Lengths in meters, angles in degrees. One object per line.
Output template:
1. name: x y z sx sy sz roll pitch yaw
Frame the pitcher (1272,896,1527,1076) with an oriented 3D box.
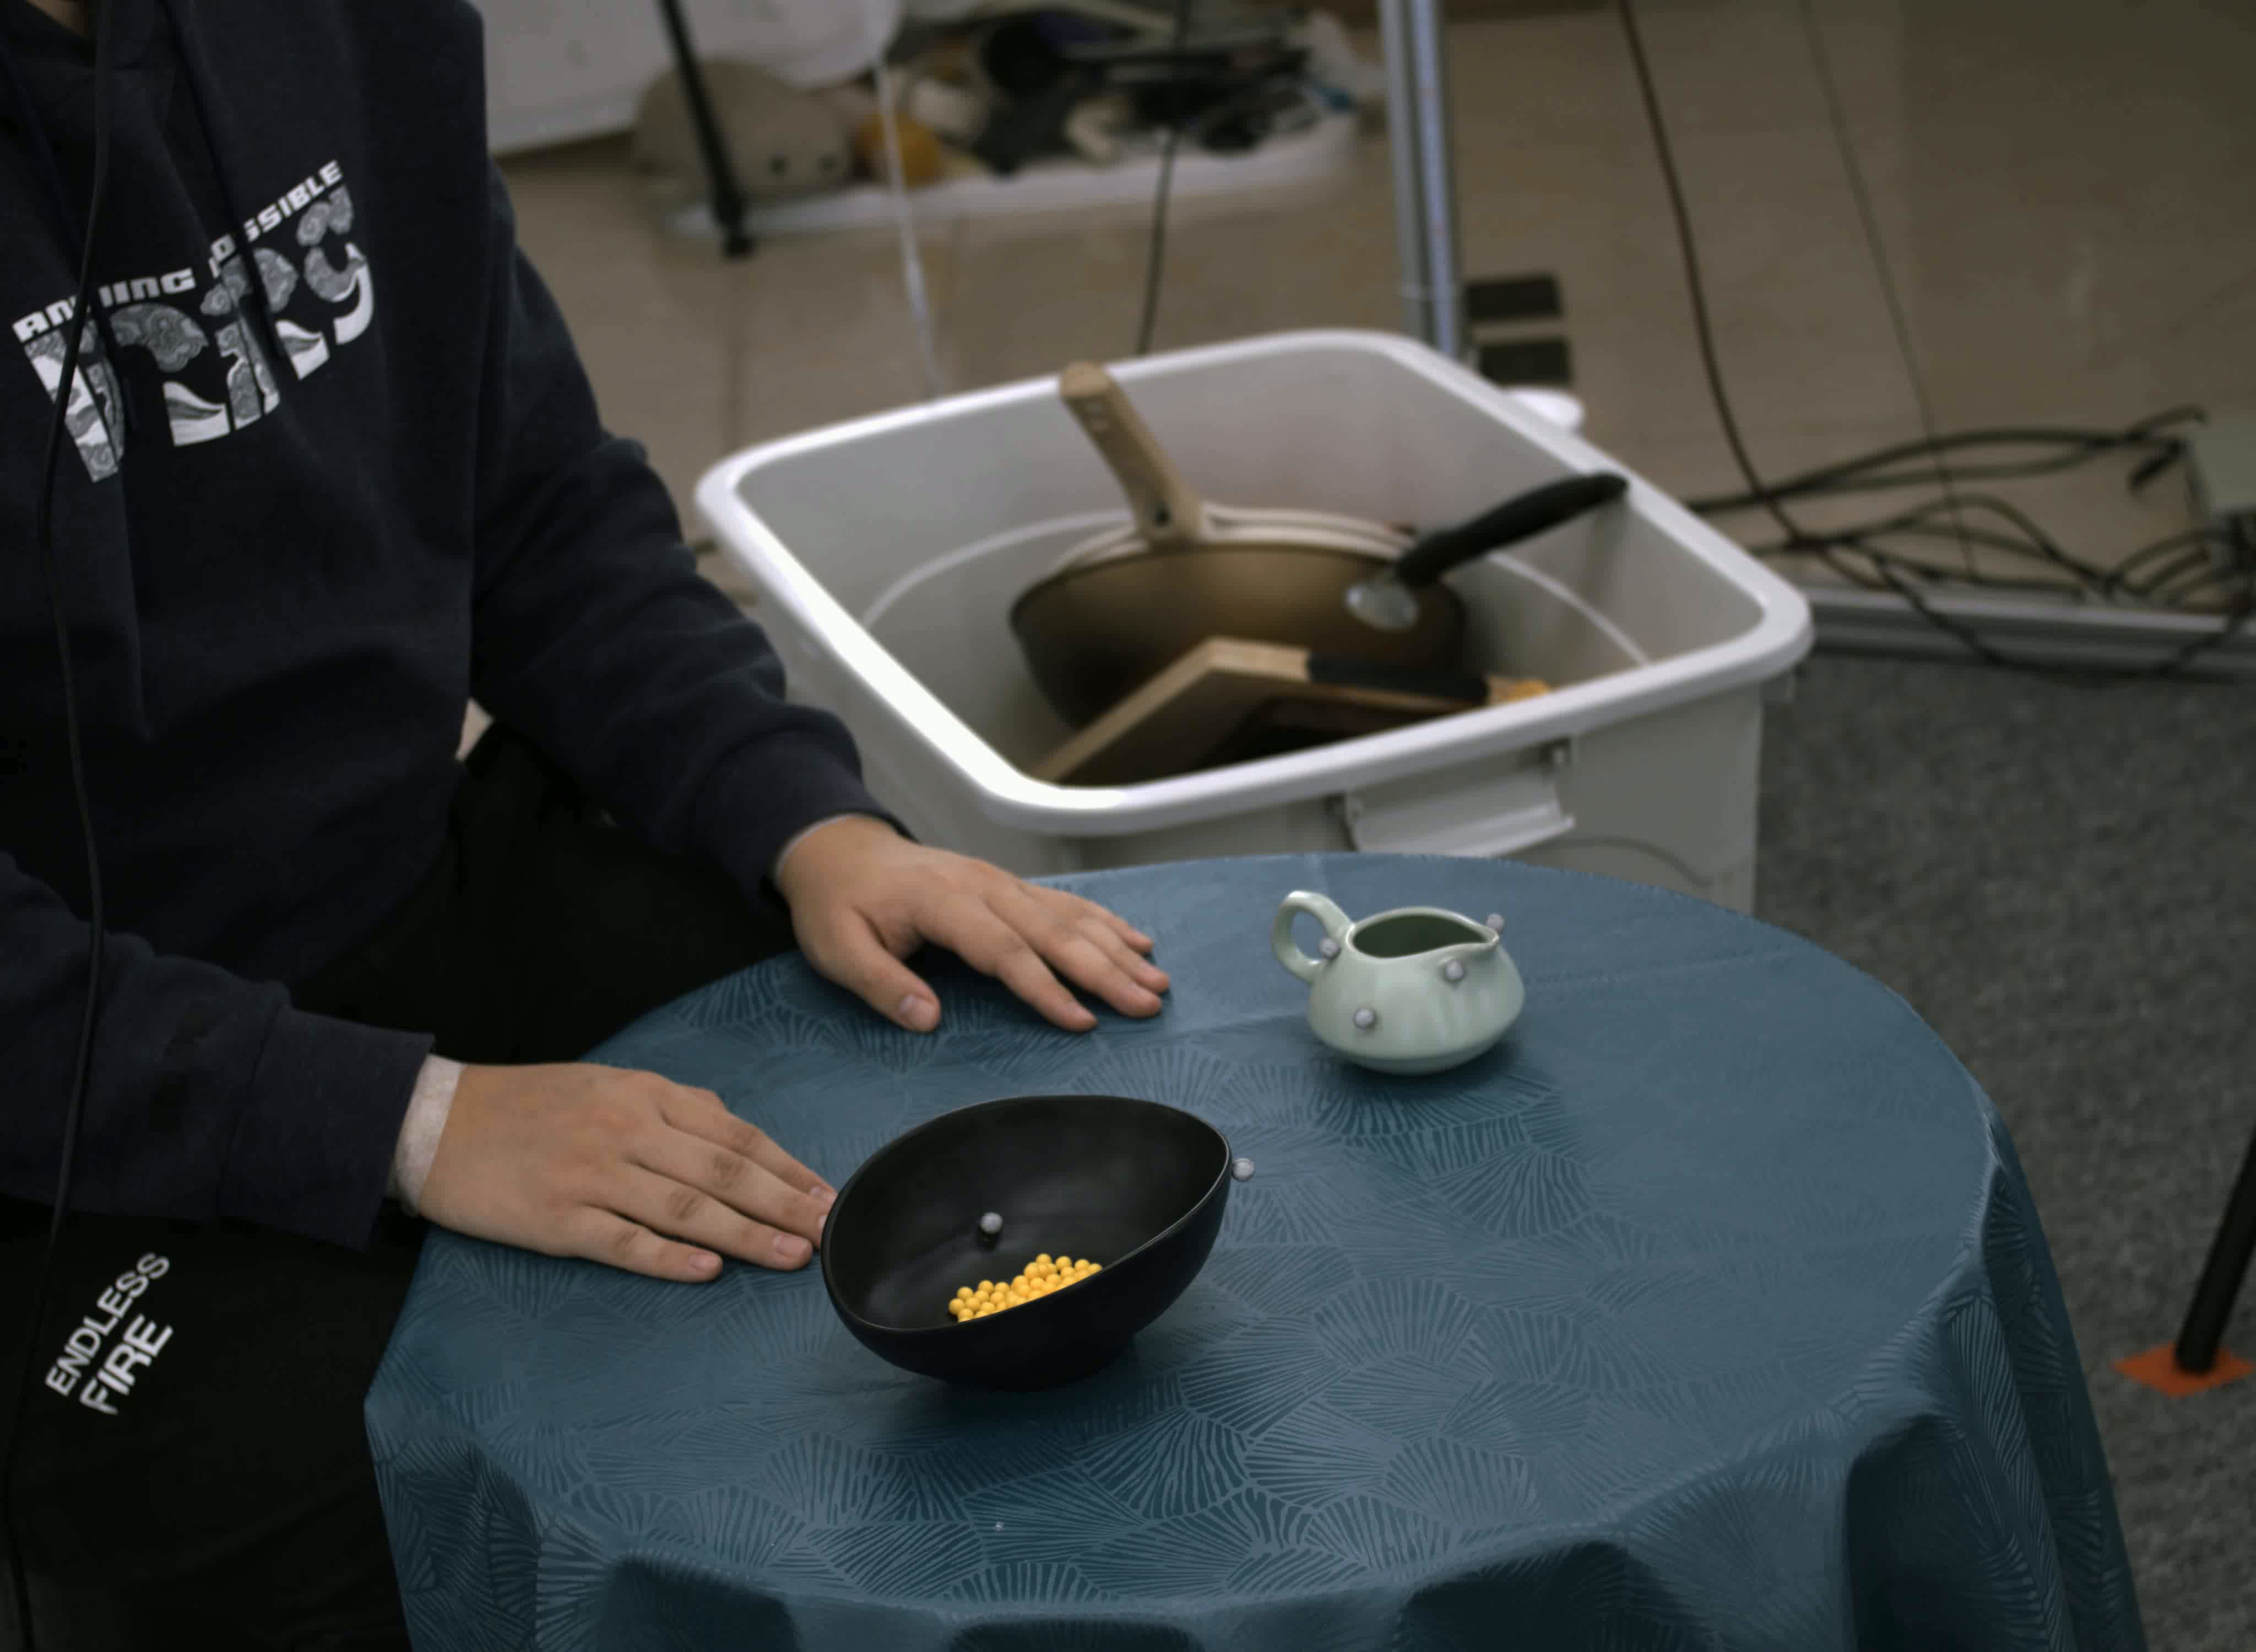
1. pitcher: 0.103 0.061 2.226 0.107 0.061 0.085 9 28 34

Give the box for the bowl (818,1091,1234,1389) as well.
1. bowl: -0.034 0.158 2.039 0.136 0.068 0.168 11 31 35
